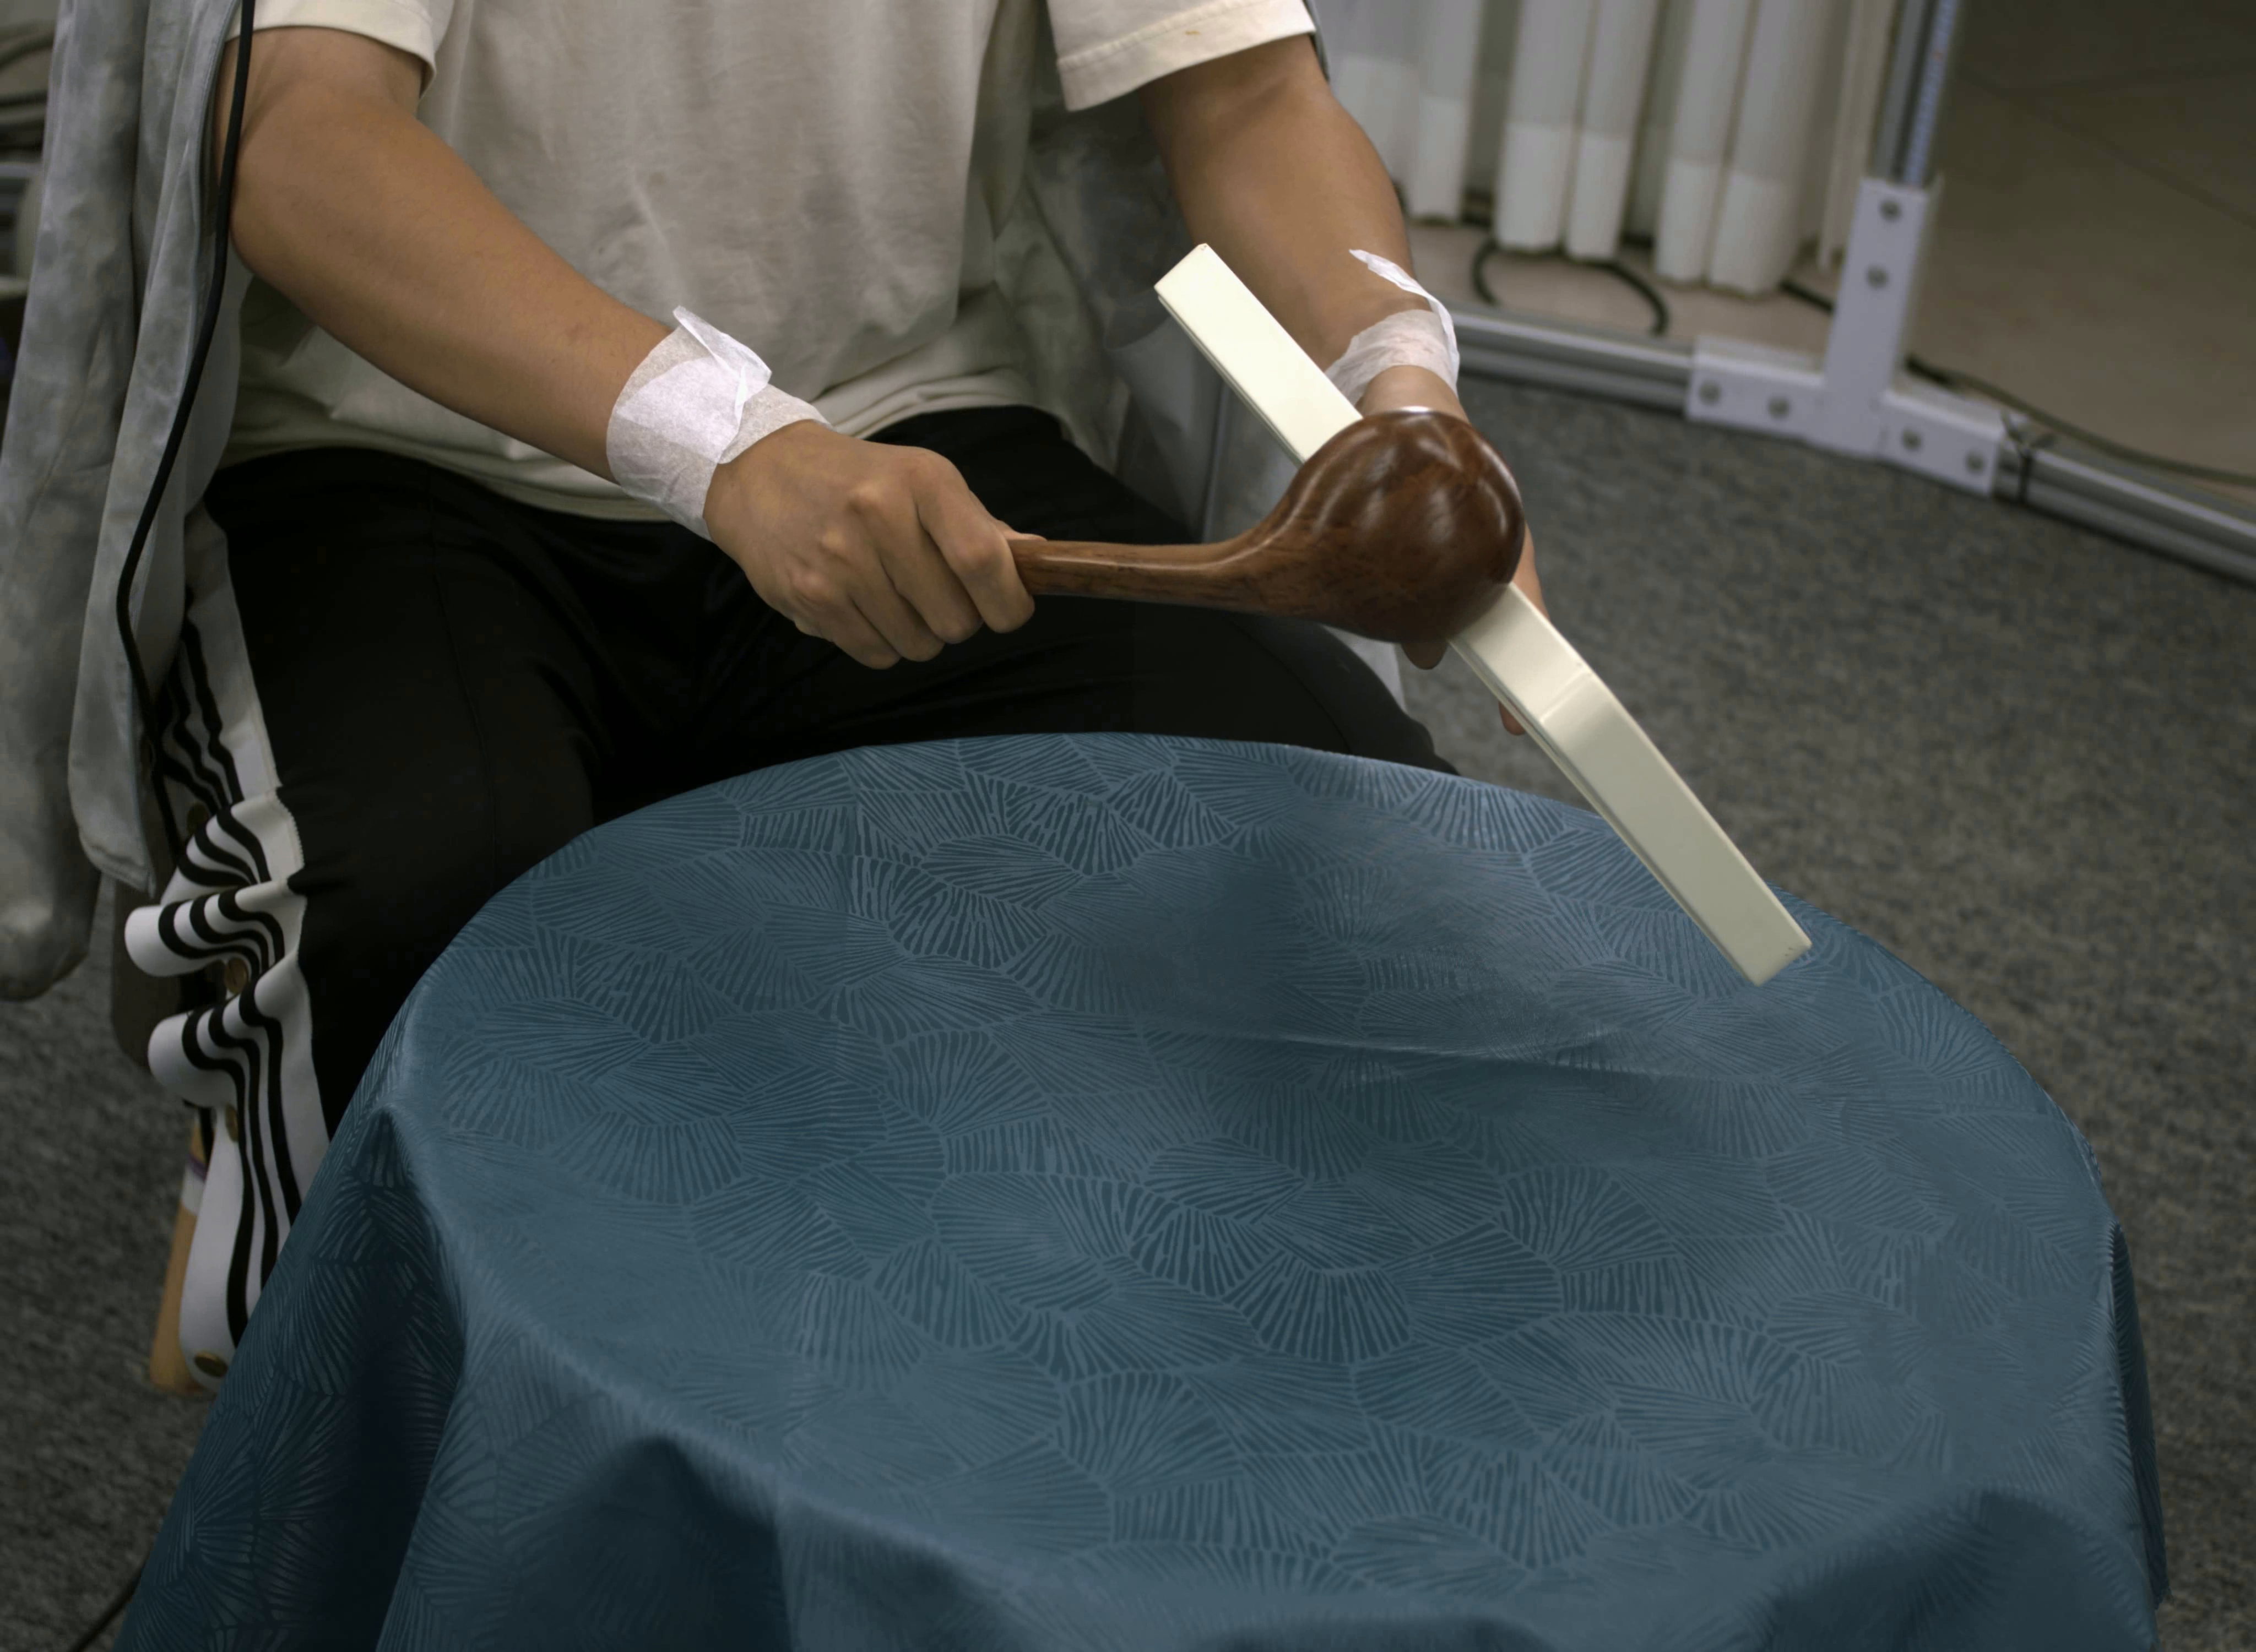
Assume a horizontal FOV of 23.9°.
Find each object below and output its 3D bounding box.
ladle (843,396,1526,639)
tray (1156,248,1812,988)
[{"bbox_3d":[0.017,-0.101,1.822,0.275,0.081,0.076,1,28,46],"label":"ladle"},{"bbox_3d":[0.124,-0.076,1.898,0.027,0.190,0.303,-41,45,3],"label":"tray"}]
